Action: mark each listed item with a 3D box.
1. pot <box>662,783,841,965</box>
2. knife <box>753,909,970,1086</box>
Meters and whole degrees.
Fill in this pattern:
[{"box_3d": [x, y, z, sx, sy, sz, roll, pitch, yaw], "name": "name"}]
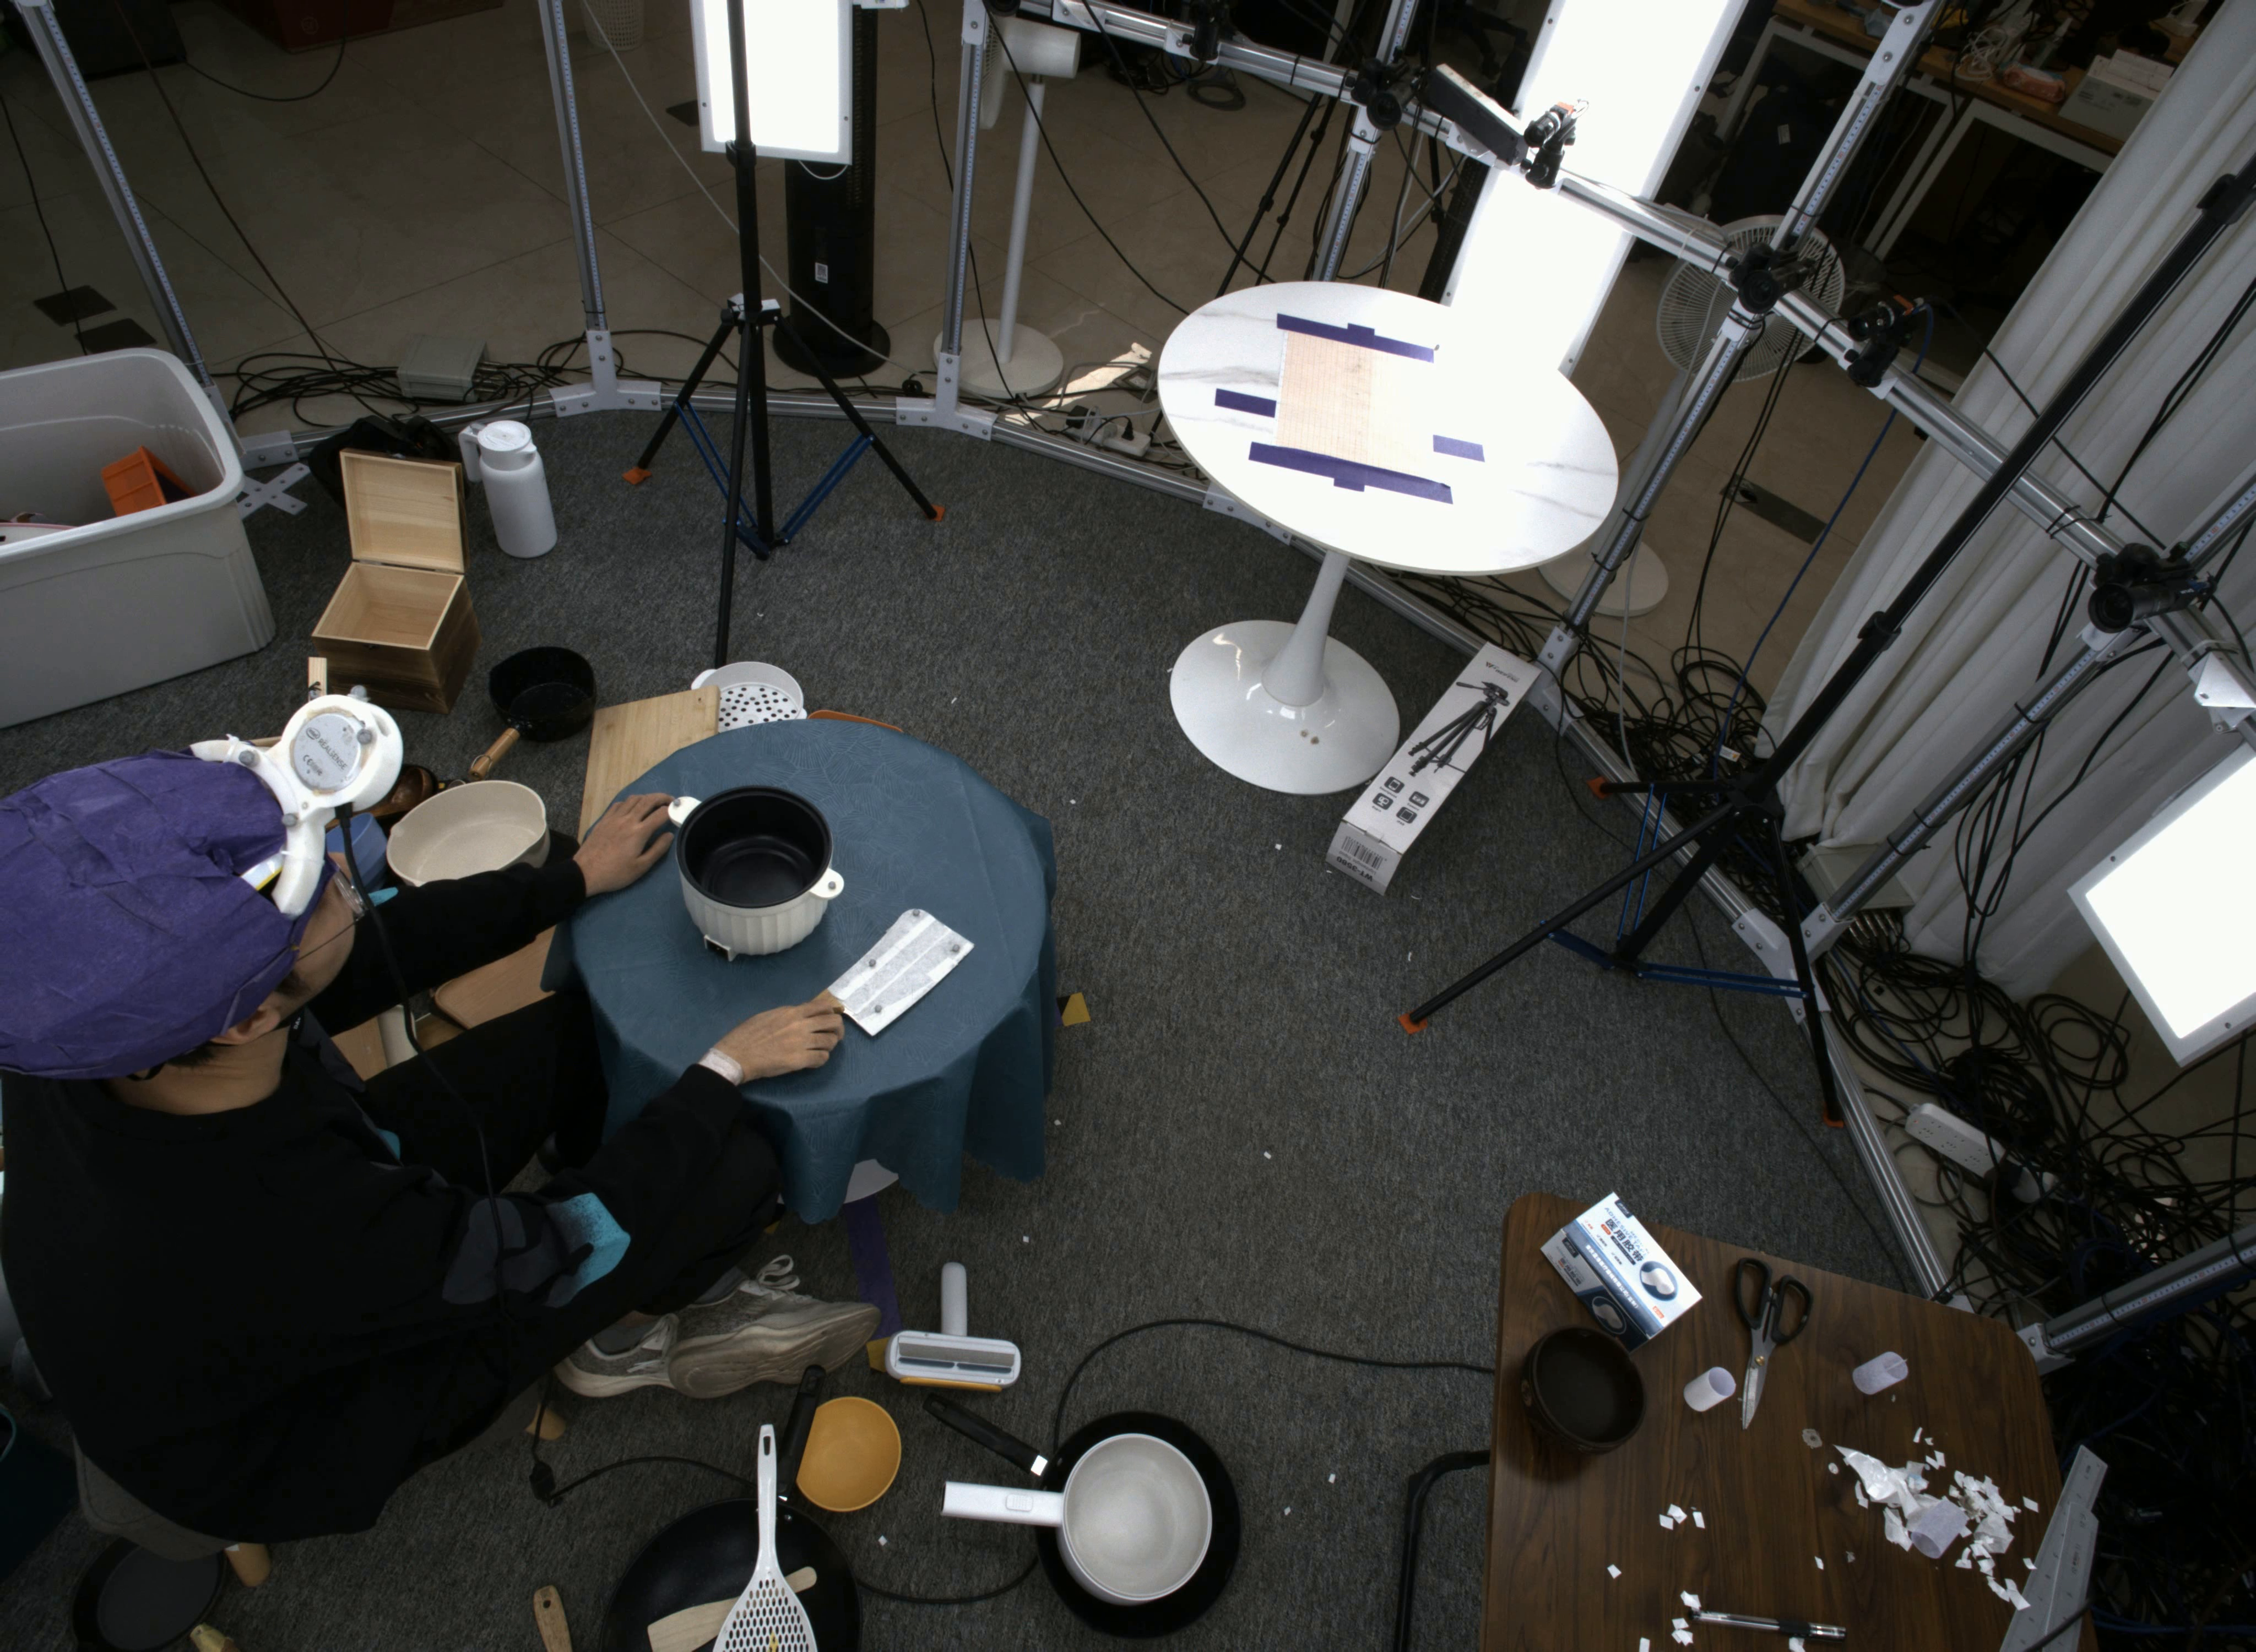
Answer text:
[{"box_3d": [-0.453, 0.056, 1.574, 0.237, 0.145, 0.189, 26, 55, 5], "name": "pot"}, {"box_3d": [-0.326, 0.203, 1.576, 0.111, 0.022, 0.316, 39, 51, 15], "name": "knife"}]
